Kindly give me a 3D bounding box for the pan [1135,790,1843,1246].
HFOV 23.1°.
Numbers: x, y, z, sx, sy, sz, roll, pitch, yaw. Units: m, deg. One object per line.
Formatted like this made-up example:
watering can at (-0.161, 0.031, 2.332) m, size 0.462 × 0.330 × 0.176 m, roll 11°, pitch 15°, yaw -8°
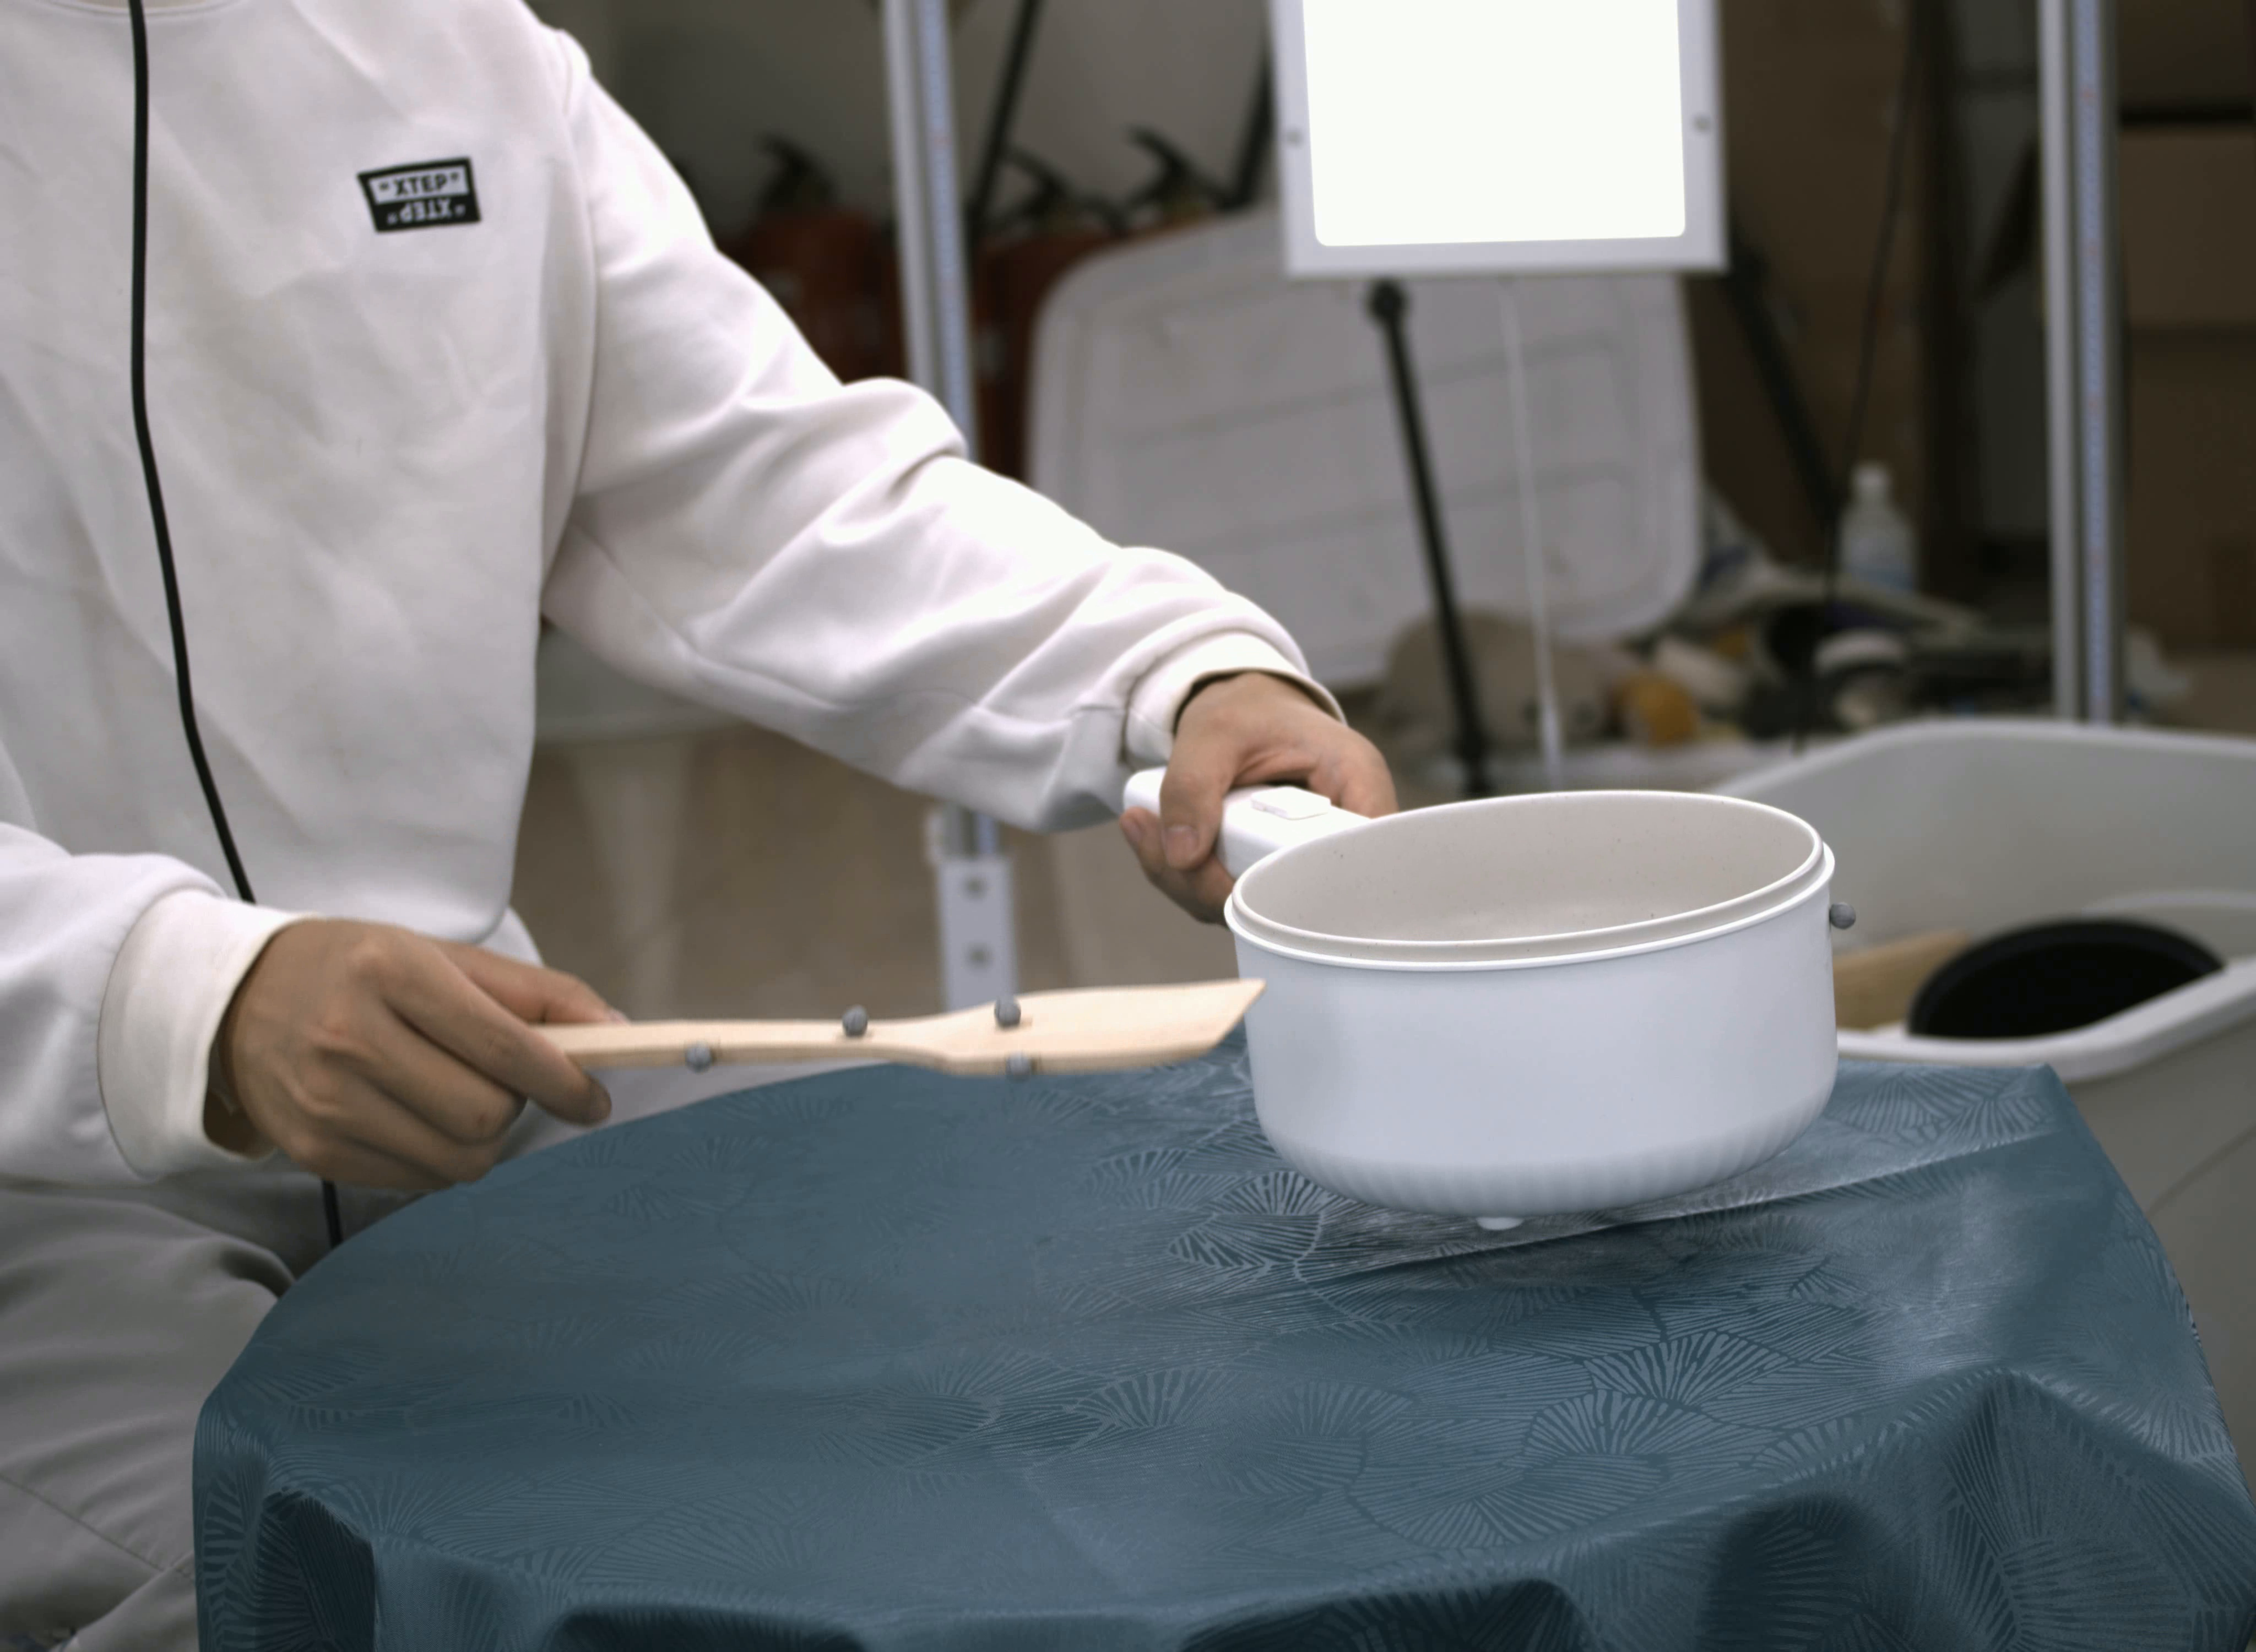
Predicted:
pan at (0.103, 0.056, 1.886) m, size 0.197 × 0.102 × 0.361 m, roll -16°, pitch 14°, yaw -24°
